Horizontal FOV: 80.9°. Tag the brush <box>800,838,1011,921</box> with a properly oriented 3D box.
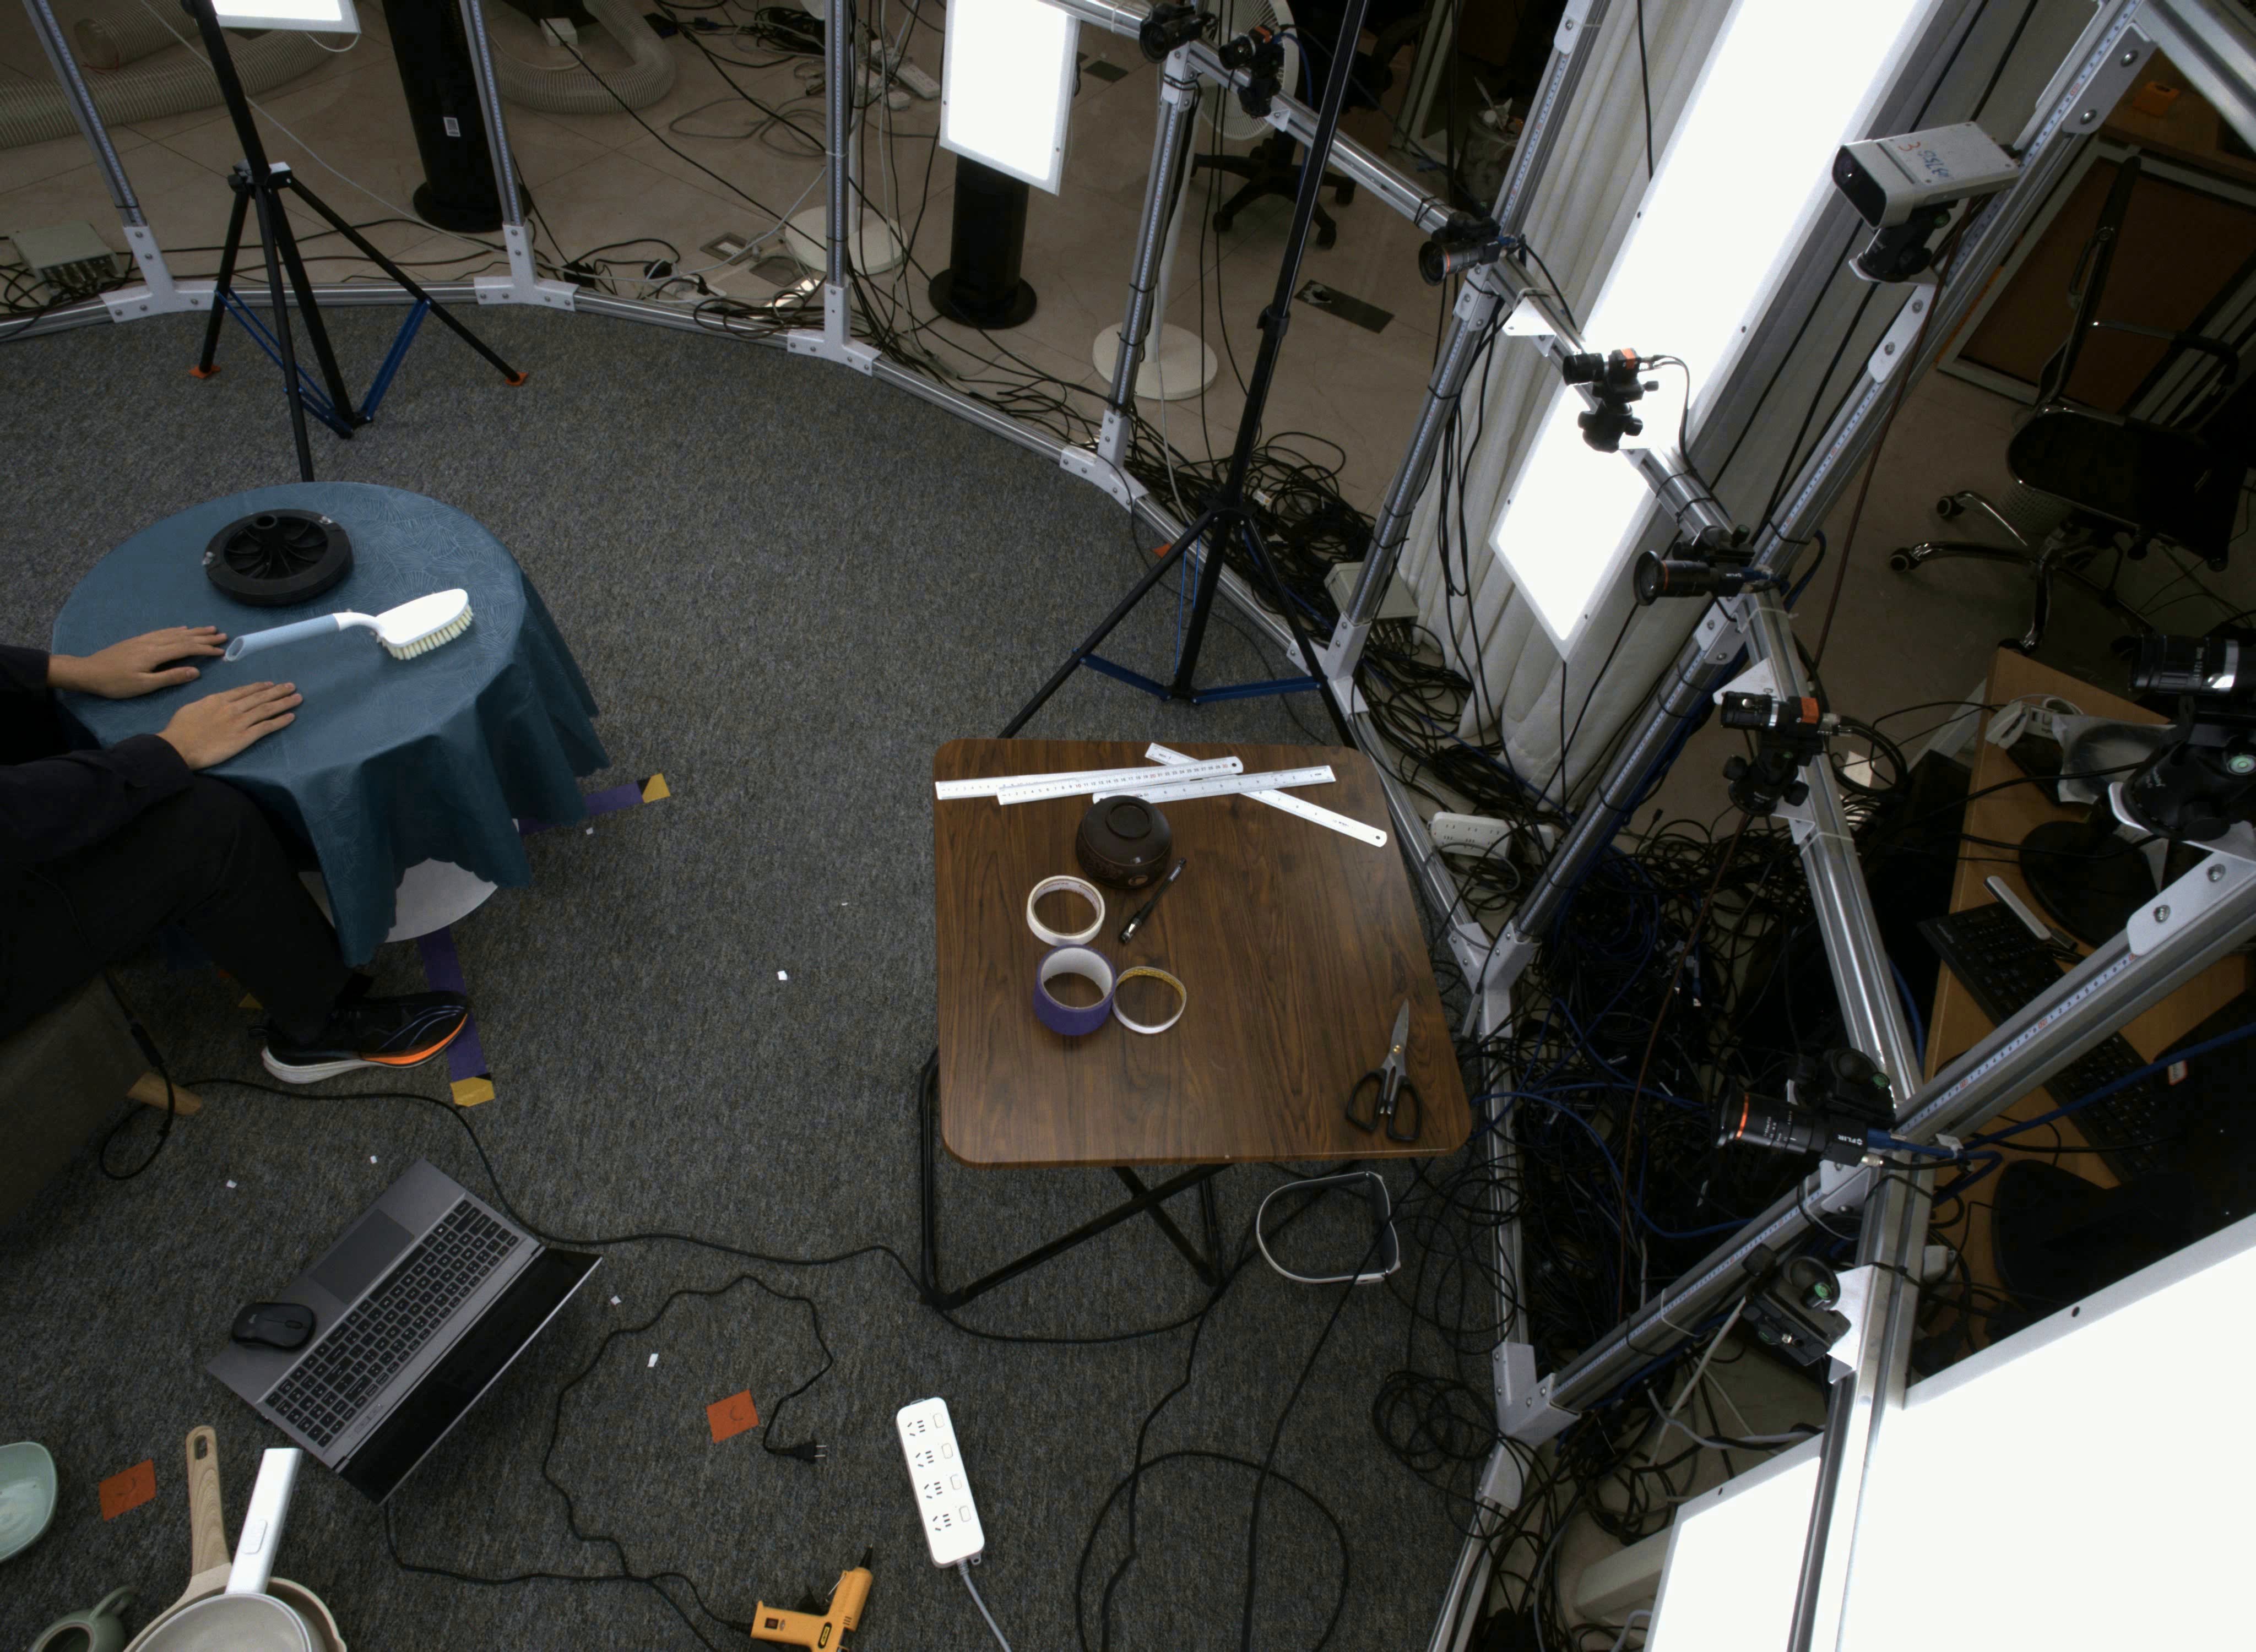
[{"bbox_3d":[-0.332,0.091,1.943,0.329,0.084,0.082,12,-16,-21],"label":"brush"}]

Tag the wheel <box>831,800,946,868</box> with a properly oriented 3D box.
[{"bbox_3d":[-0.393,-0.001,2.138,0.190,0.081,0.182,-13,32,-39],"label":"wheel"}]
